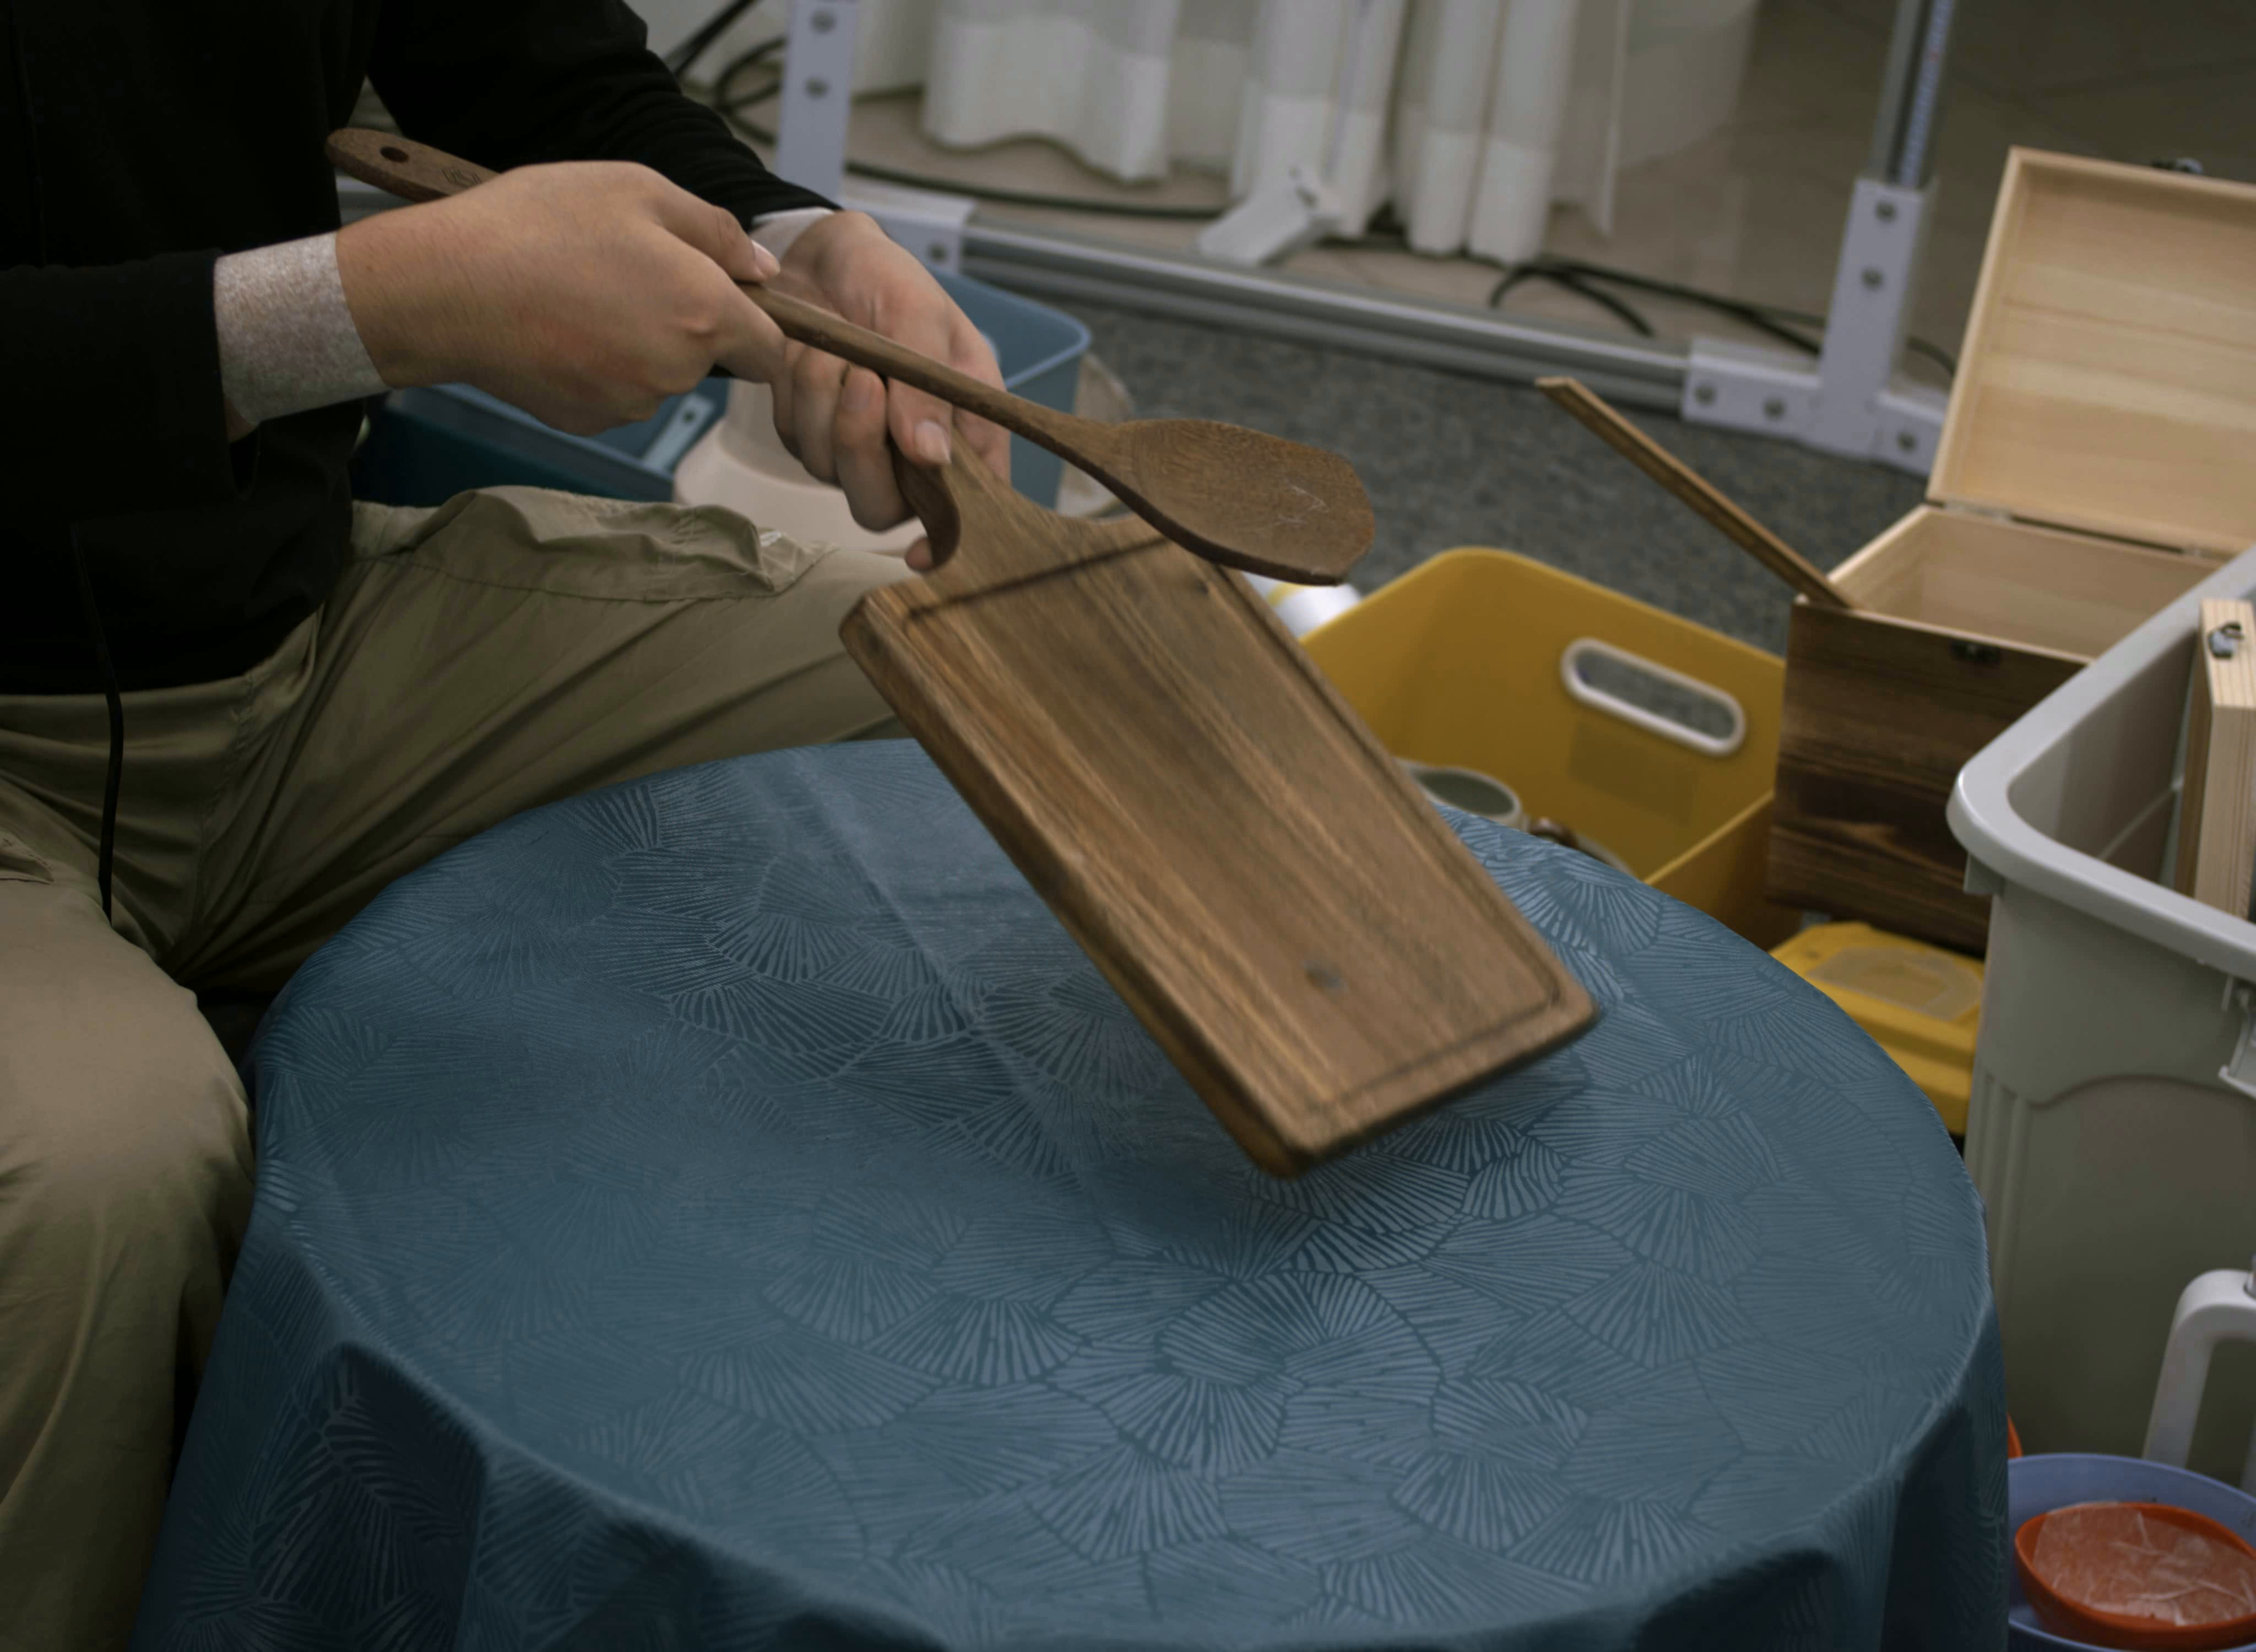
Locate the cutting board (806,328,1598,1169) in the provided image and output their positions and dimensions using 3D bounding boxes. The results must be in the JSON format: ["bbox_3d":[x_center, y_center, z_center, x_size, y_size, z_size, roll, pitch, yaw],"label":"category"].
[{"bbox_3d":[0.003,-0.042,1.869,0.354,0.023,0.200,50,36,15],"label":"cutting board"}]

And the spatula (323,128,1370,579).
[{"bbox_3d":[-0.093,-0.166,1.827,0.384,0.016,0.097,21,30,-11],"label":"spatula"}]
